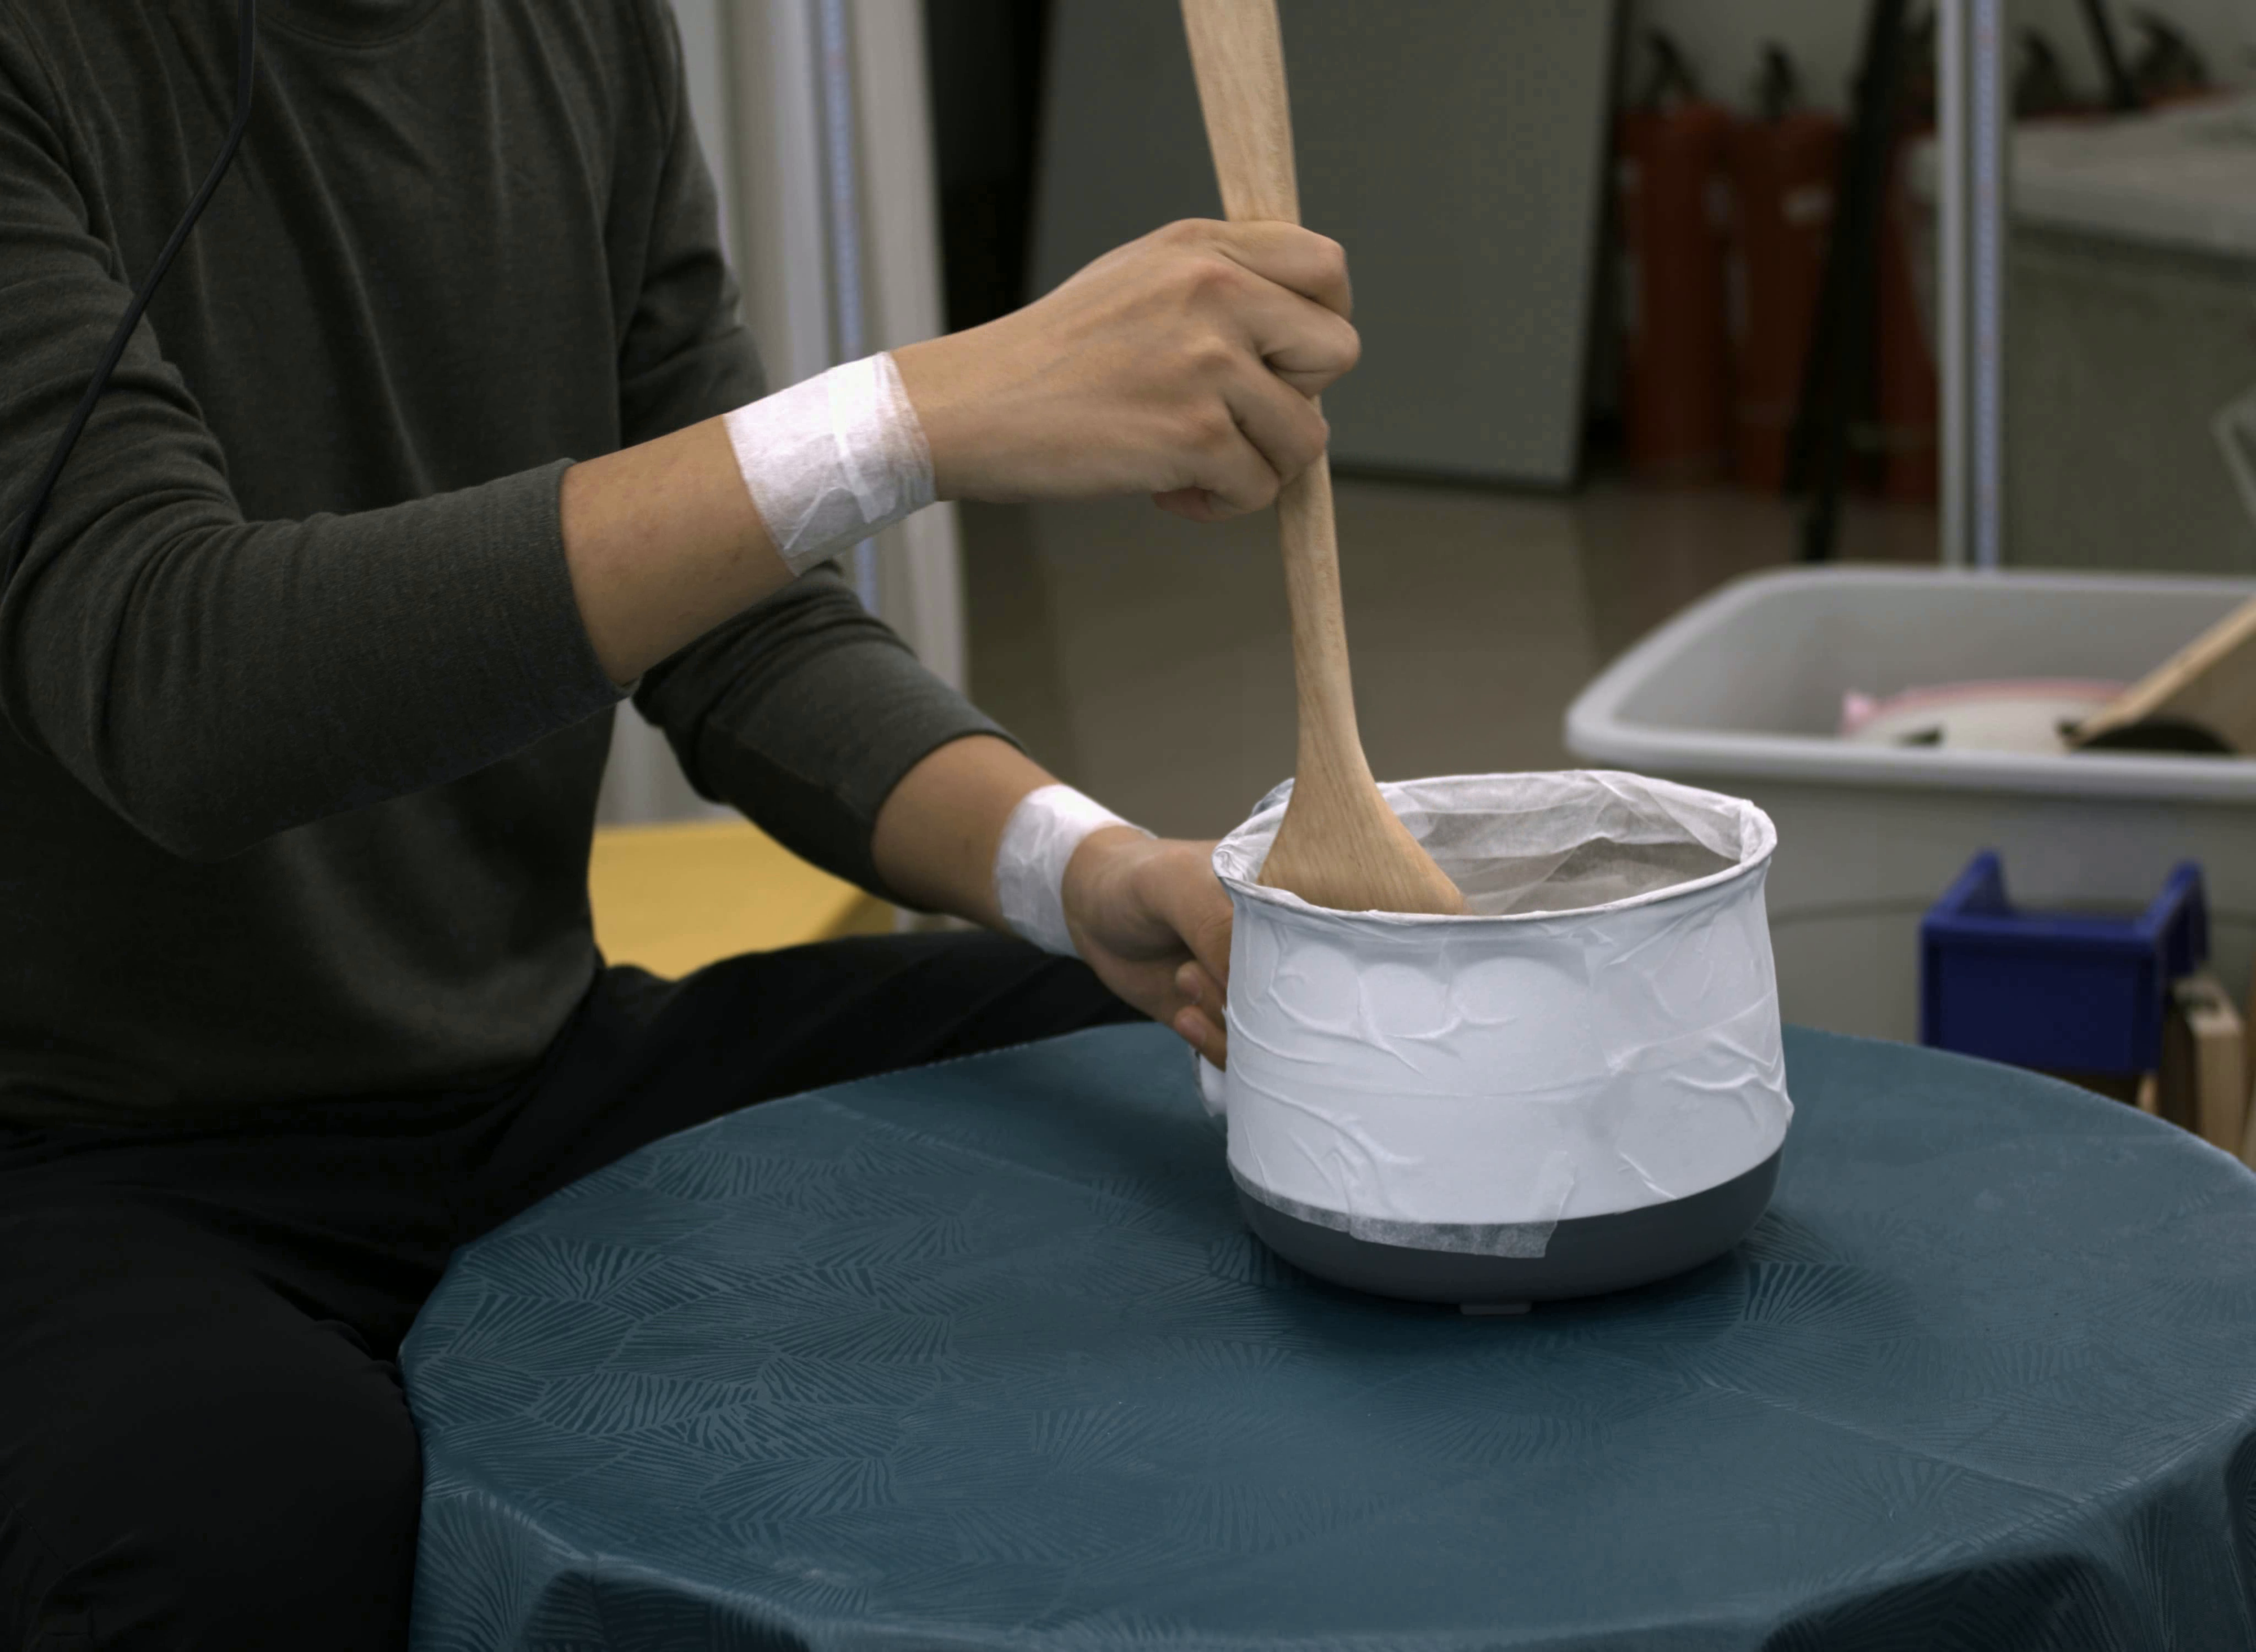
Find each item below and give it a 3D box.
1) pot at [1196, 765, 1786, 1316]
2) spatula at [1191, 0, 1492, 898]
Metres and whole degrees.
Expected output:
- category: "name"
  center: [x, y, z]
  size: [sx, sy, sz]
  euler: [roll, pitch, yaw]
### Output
- category: "pot"
  center: [0.100, 0.061, 1.703]
  size: [0.175, 0.138, 0.236]
  euler: [-13, 16, -36]
- category: "spatula"
  center: [0.059, -0.101, 1.622]
  size: [0.096, 0.395, 0.018]
  euler: [-2, 10, 38]
